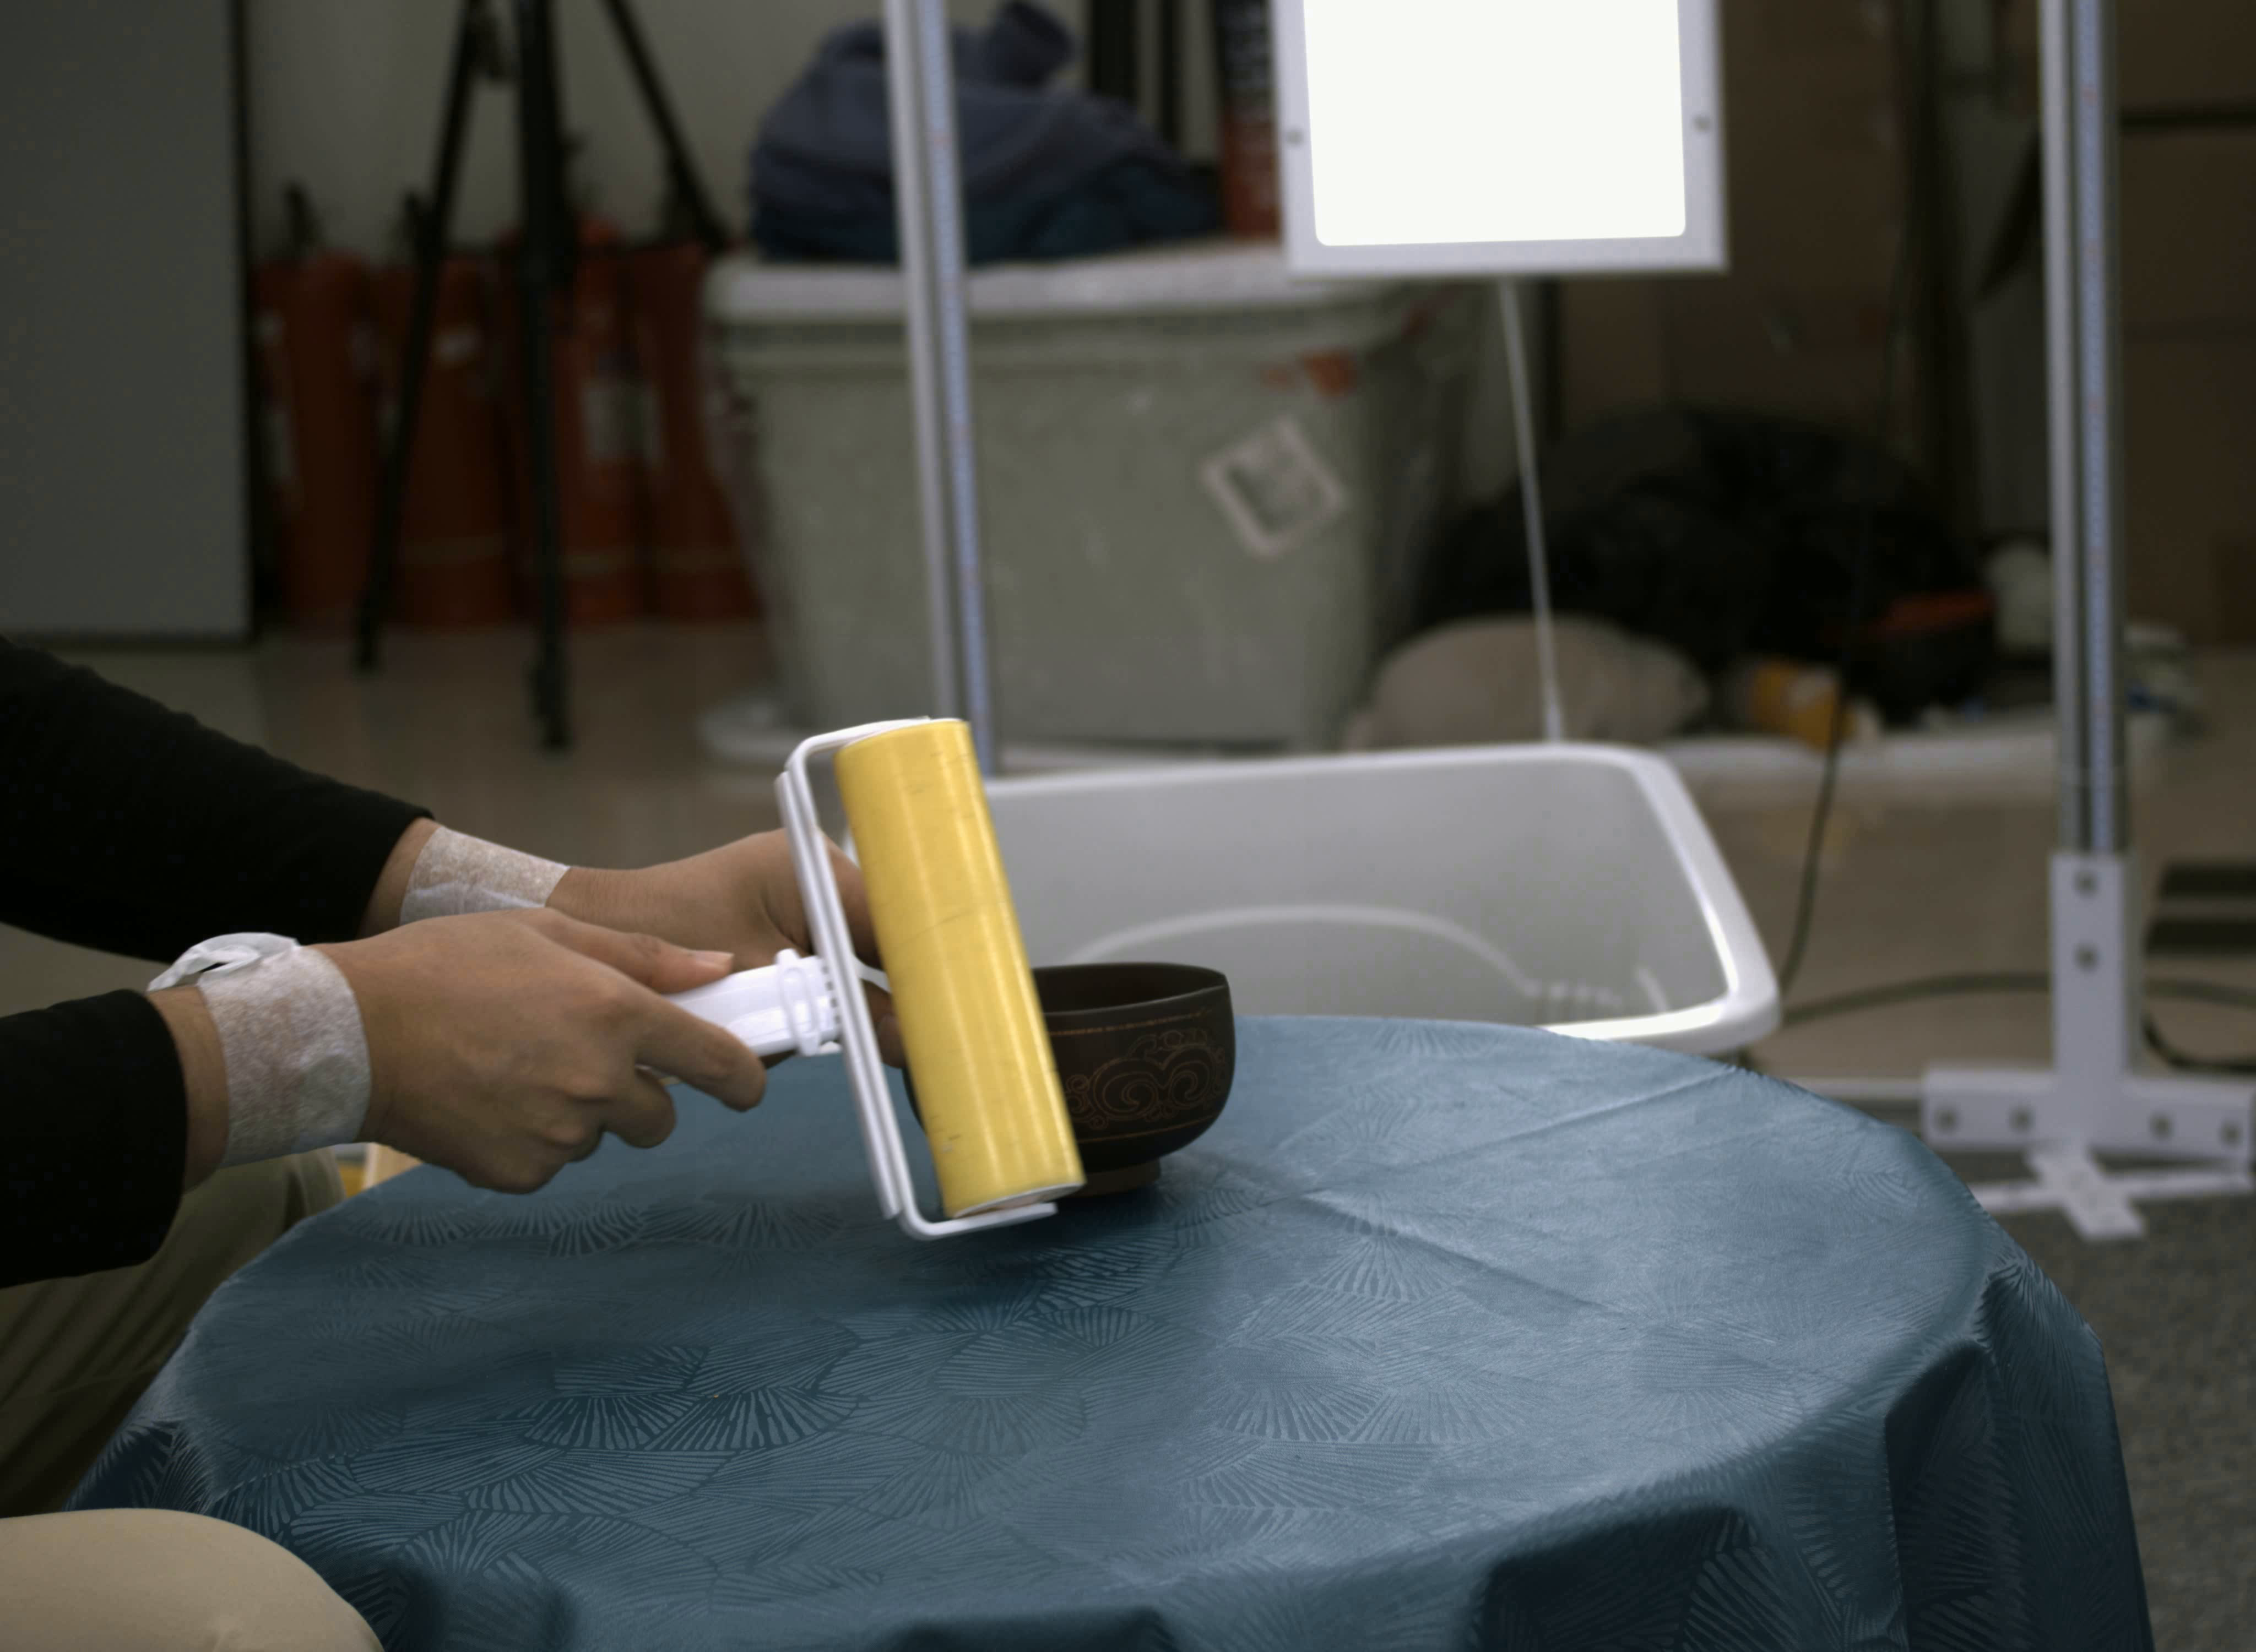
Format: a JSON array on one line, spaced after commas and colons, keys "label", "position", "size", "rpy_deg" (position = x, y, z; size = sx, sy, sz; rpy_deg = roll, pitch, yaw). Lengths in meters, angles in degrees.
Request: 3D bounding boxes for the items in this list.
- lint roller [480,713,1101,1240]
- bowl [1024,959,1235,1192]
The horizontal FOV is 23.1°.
[{"label": "lint roller", "position": [-0.116, 0.062, 1.798], "size": [0.188, 0.175, 0.052], "rpy_deg": [-12, -10, -26]}, {"label": "bowl", "position": [-0.021, 0.088, 1.897], "size": [0.117, 0.070, 0.118], "rpy_deg": [-5, 6, -1]}]
